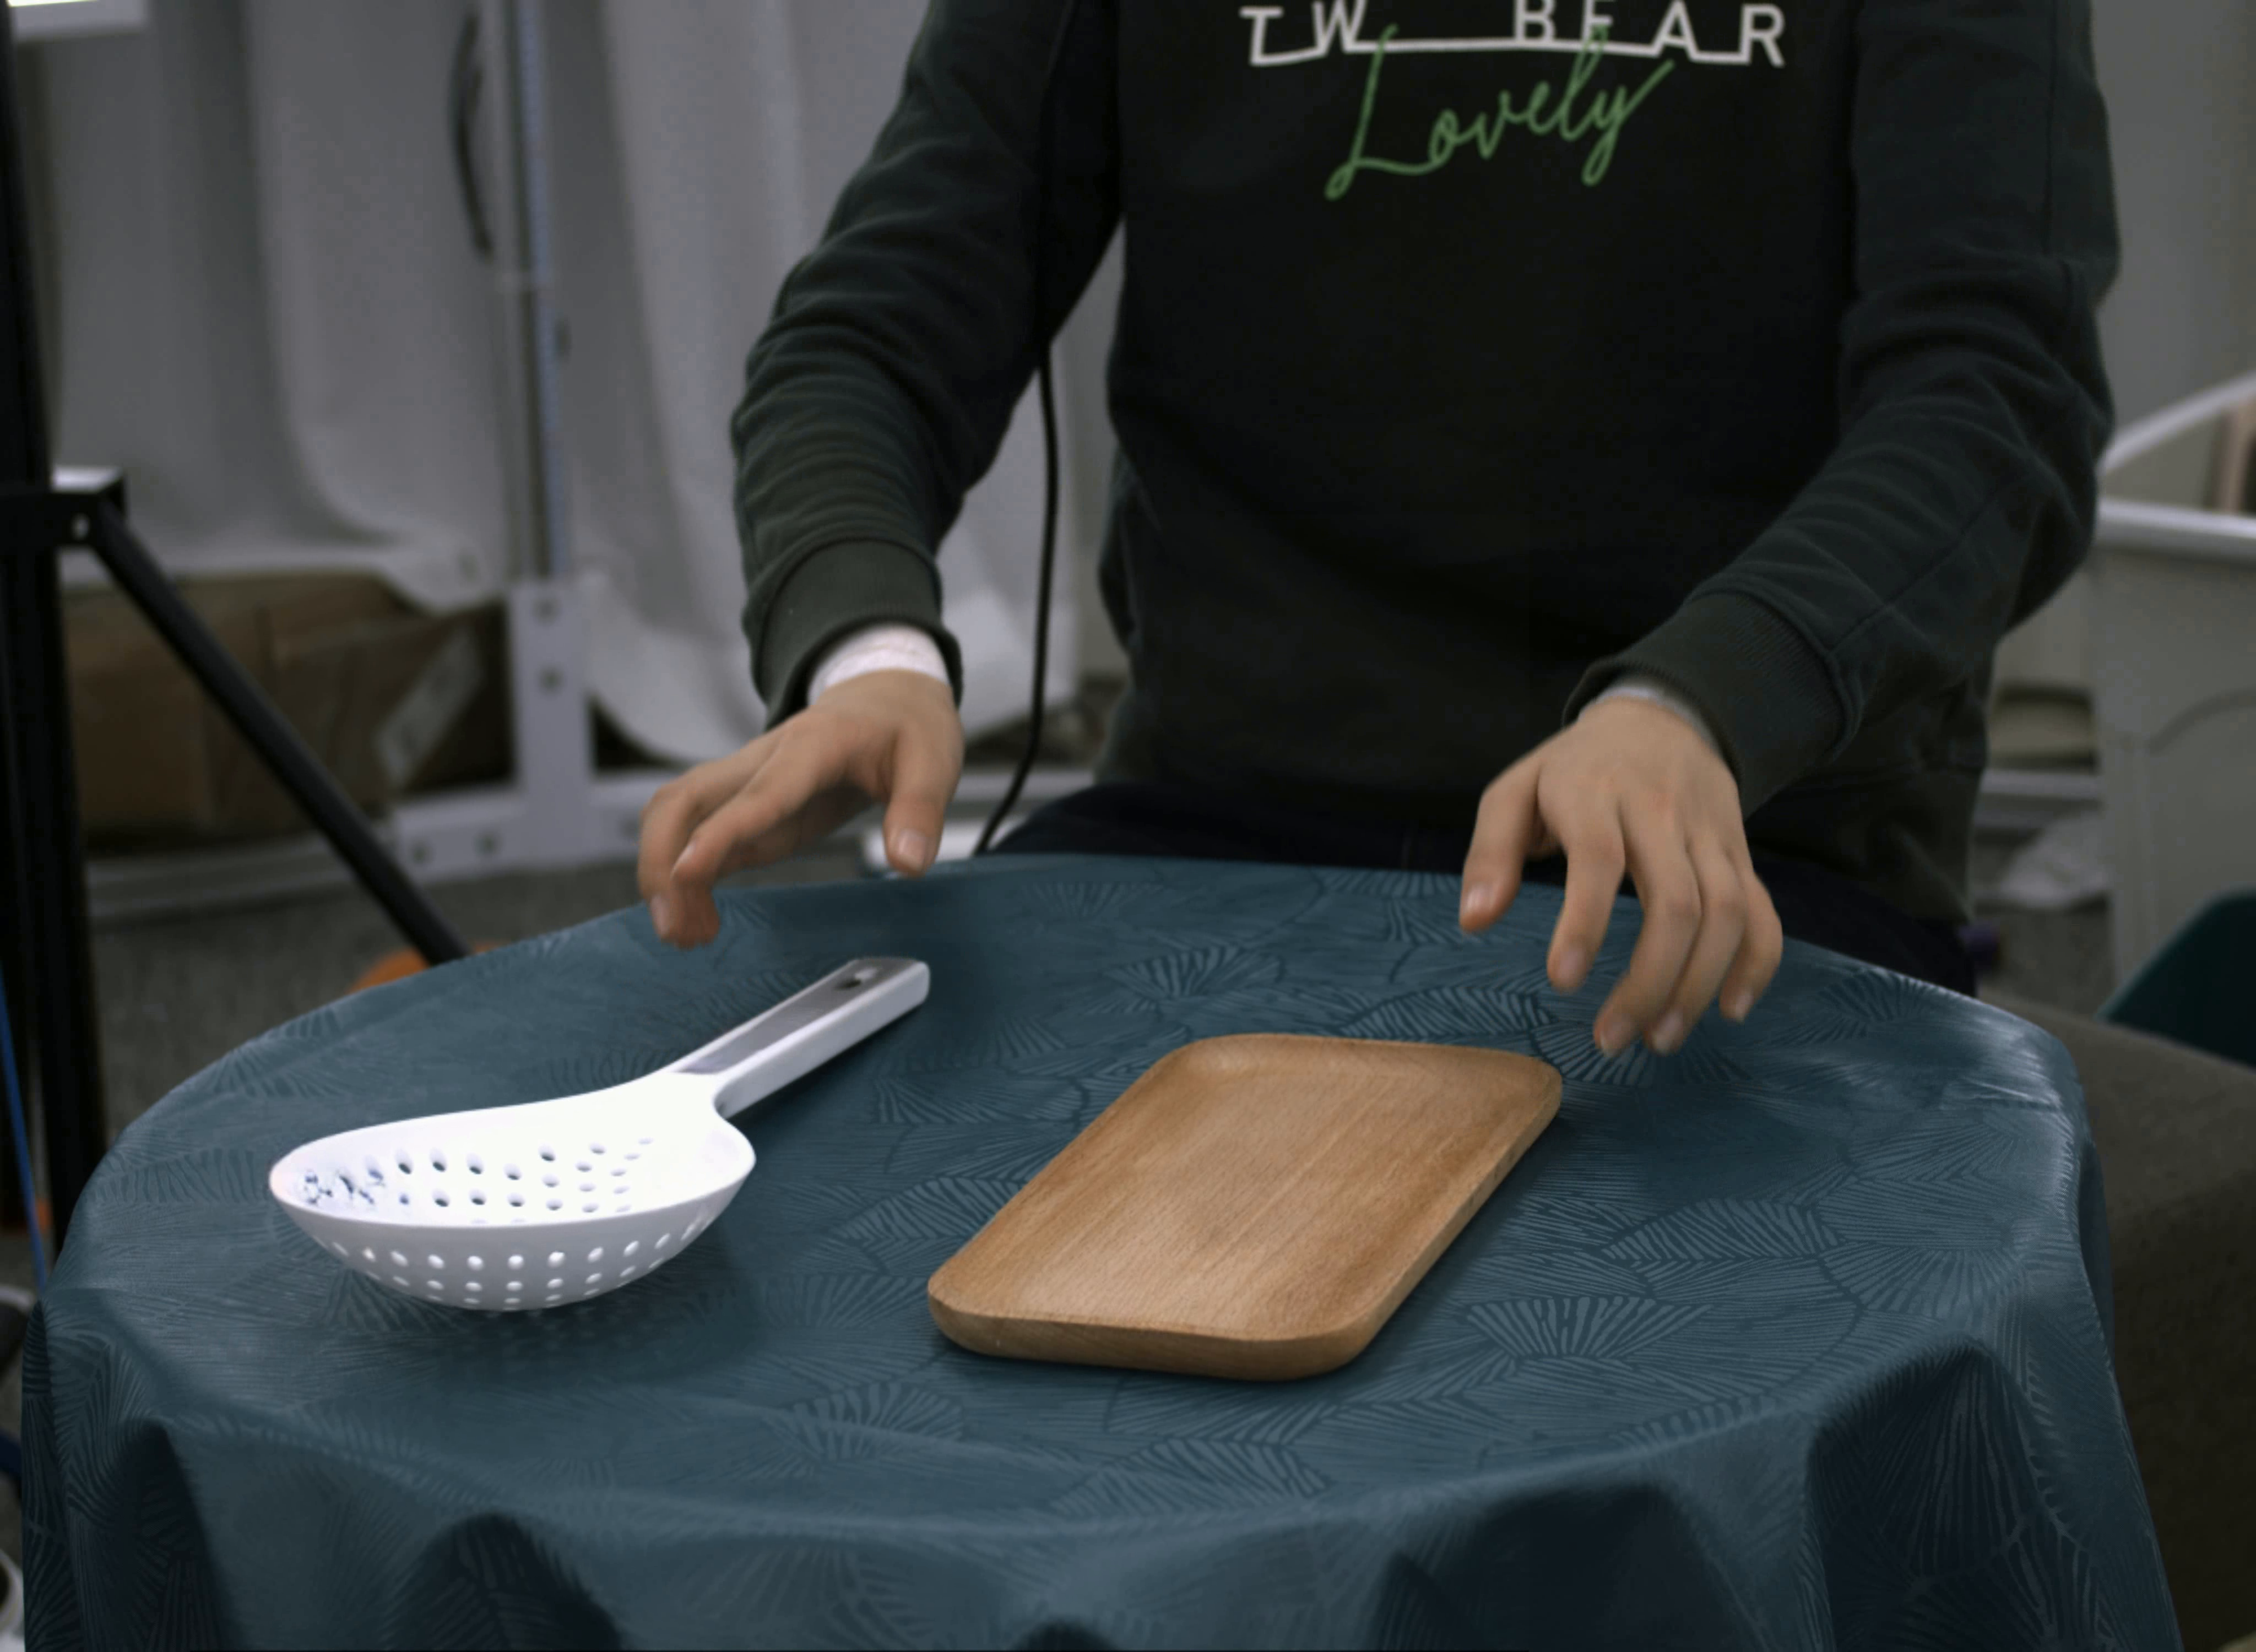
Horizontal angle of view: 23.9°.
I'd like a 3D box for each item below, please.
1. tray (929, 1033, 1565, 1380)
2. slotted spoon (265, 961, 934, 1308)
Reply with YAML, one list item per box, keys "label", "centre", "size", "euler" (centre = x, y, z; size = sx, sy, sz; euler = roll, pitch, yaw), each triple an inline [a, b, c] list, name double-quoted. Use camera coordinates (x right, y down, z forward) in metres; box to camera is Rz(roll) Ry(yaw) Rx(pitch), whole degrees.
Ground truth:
- label: "tray"
  centre: [0.039, 0.106, 1.526]
  size: [0.132, 0.023, 0.247]
  euler: [5, 17, 20]
- label: "slotted spoon"
  centre: [-0.135, 0.082, 1.588]
  size: [0.137, 0.046, 0.345]
  euler: [3, 16, 20]
